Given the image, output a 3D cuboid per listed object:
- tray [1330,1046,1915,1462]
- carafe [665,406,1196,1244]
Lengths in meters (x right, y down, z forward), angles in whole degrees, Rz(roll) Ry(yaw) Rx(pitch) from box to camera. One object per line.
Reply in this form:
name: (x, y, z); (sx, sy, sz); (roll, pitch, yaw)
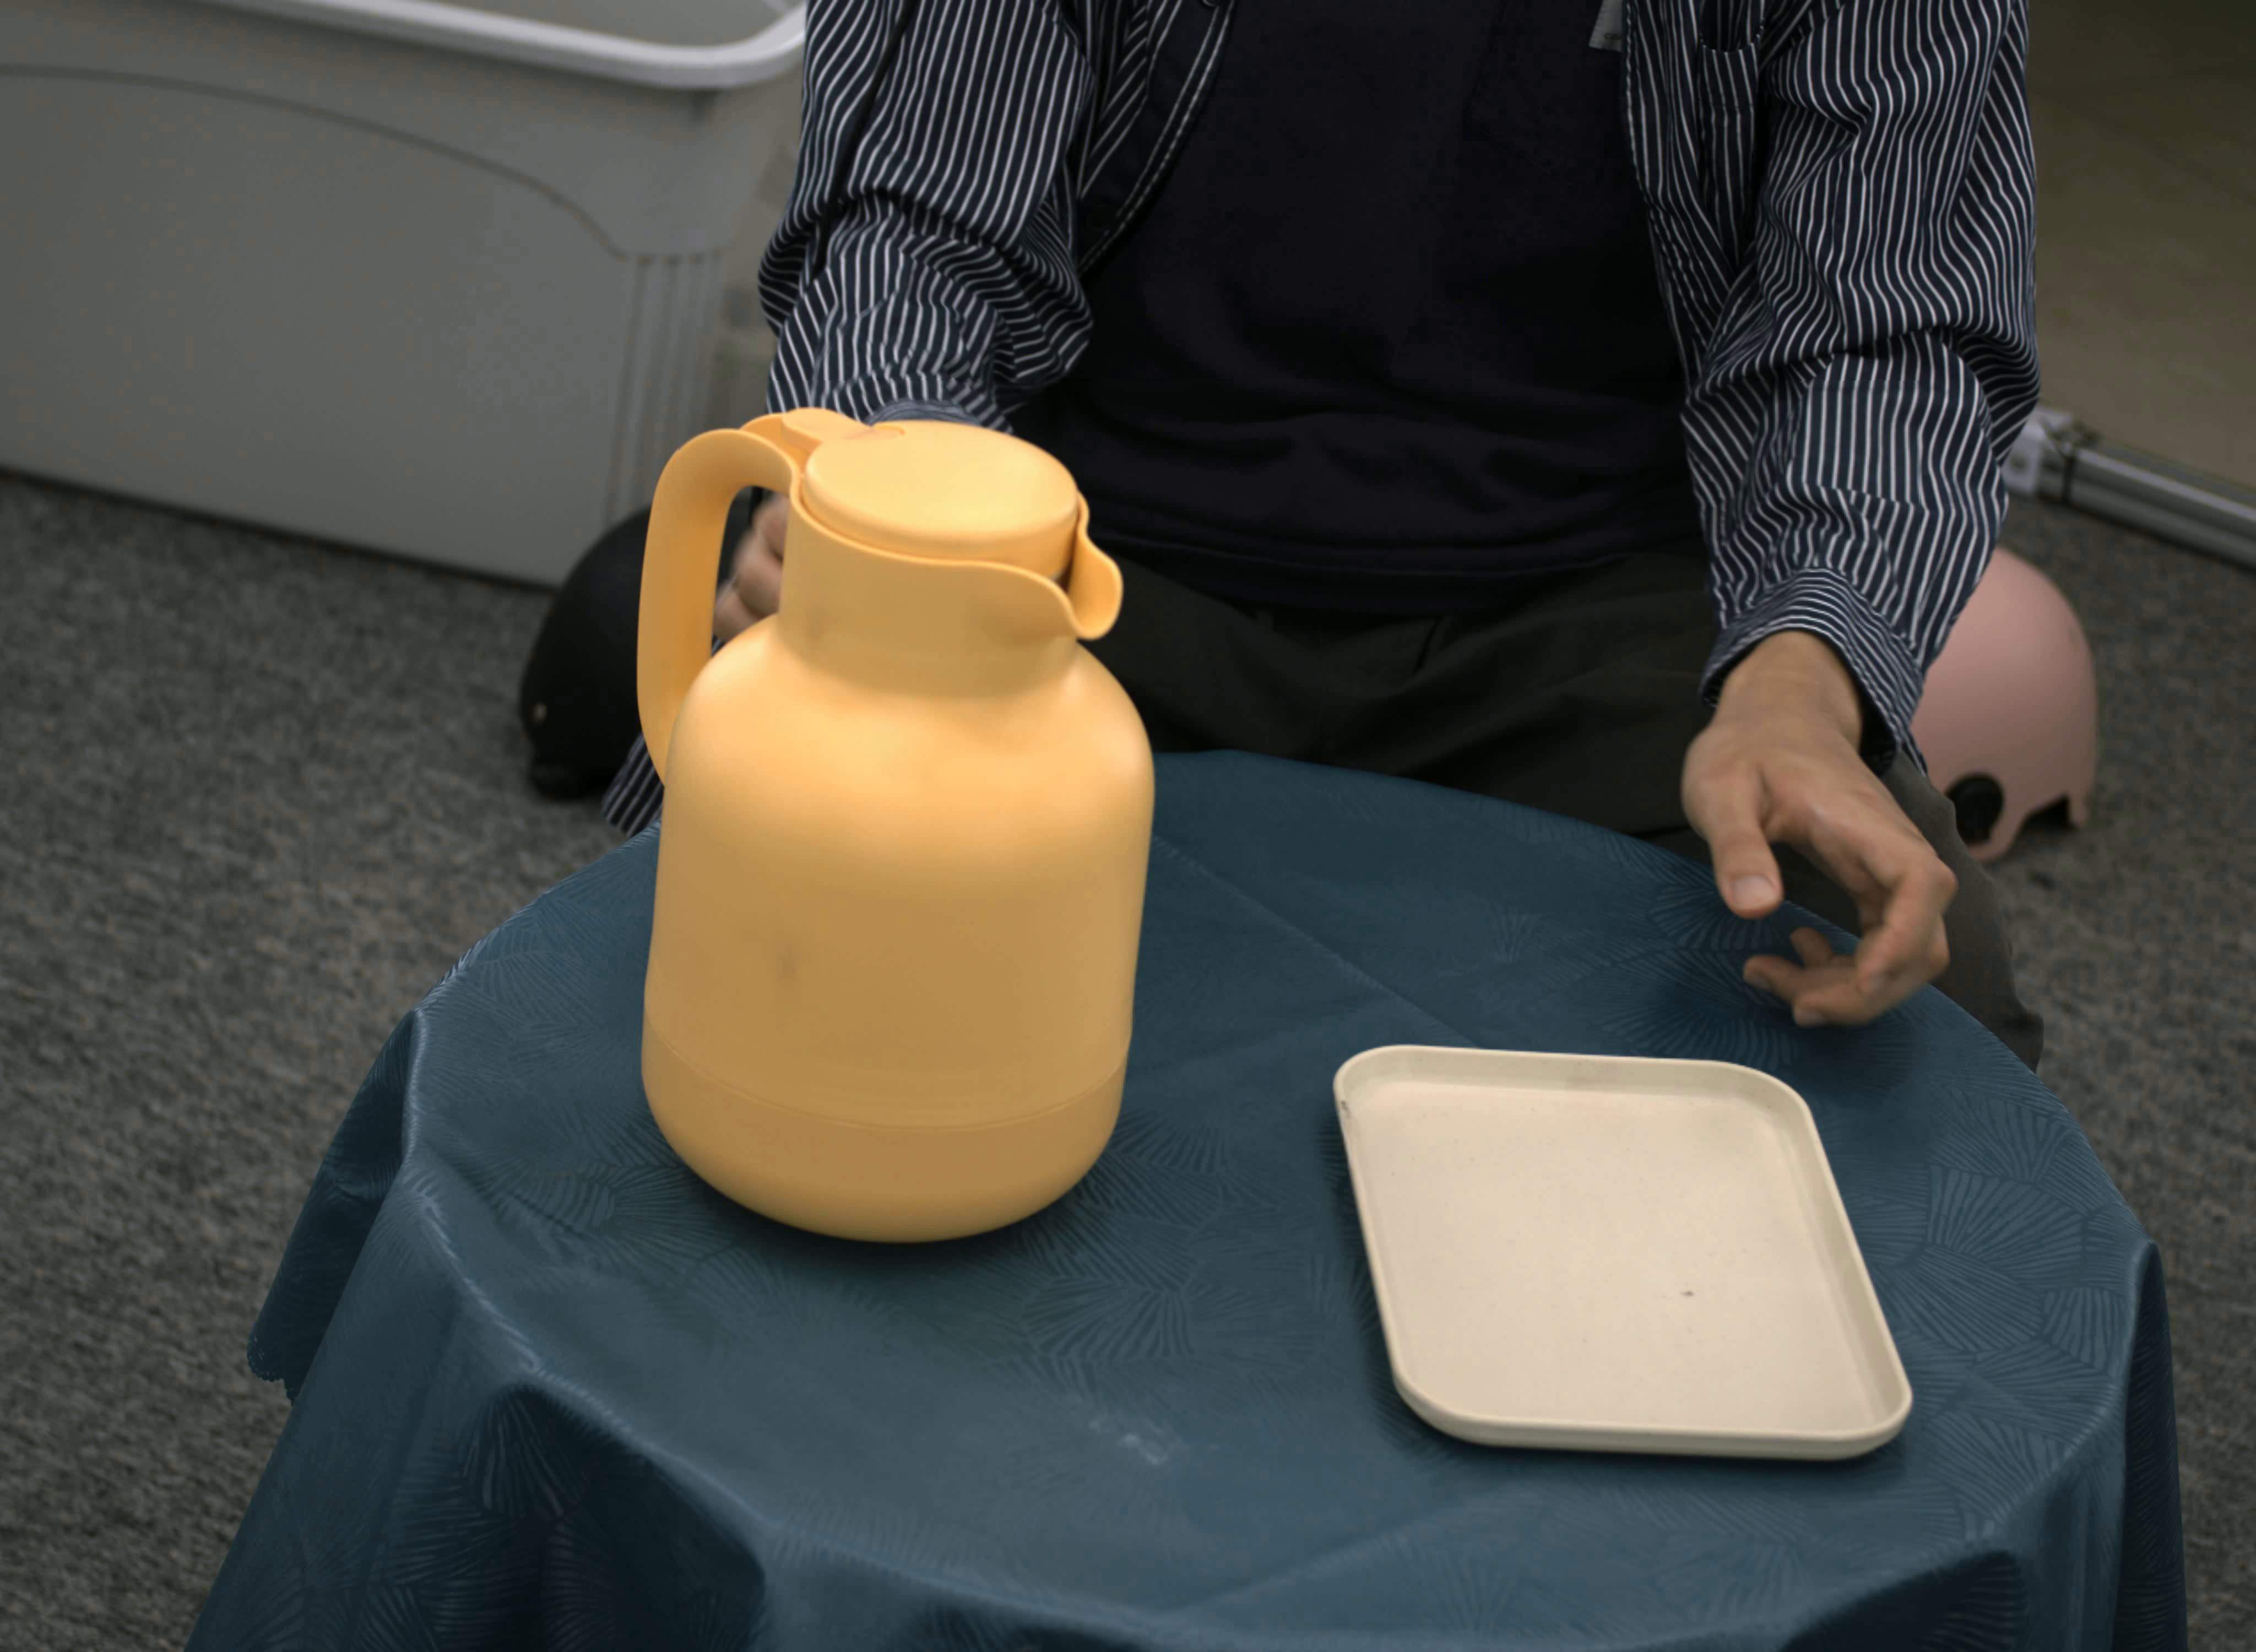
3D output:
tray: (0.160, 0.142, 1.778); (0.170, 0.017, 0.241); (4, 27, -6)
carafe: (-0.073, -0.010, 1.760); (0.204, 0.259, 0.163); (26, 31, 34)
